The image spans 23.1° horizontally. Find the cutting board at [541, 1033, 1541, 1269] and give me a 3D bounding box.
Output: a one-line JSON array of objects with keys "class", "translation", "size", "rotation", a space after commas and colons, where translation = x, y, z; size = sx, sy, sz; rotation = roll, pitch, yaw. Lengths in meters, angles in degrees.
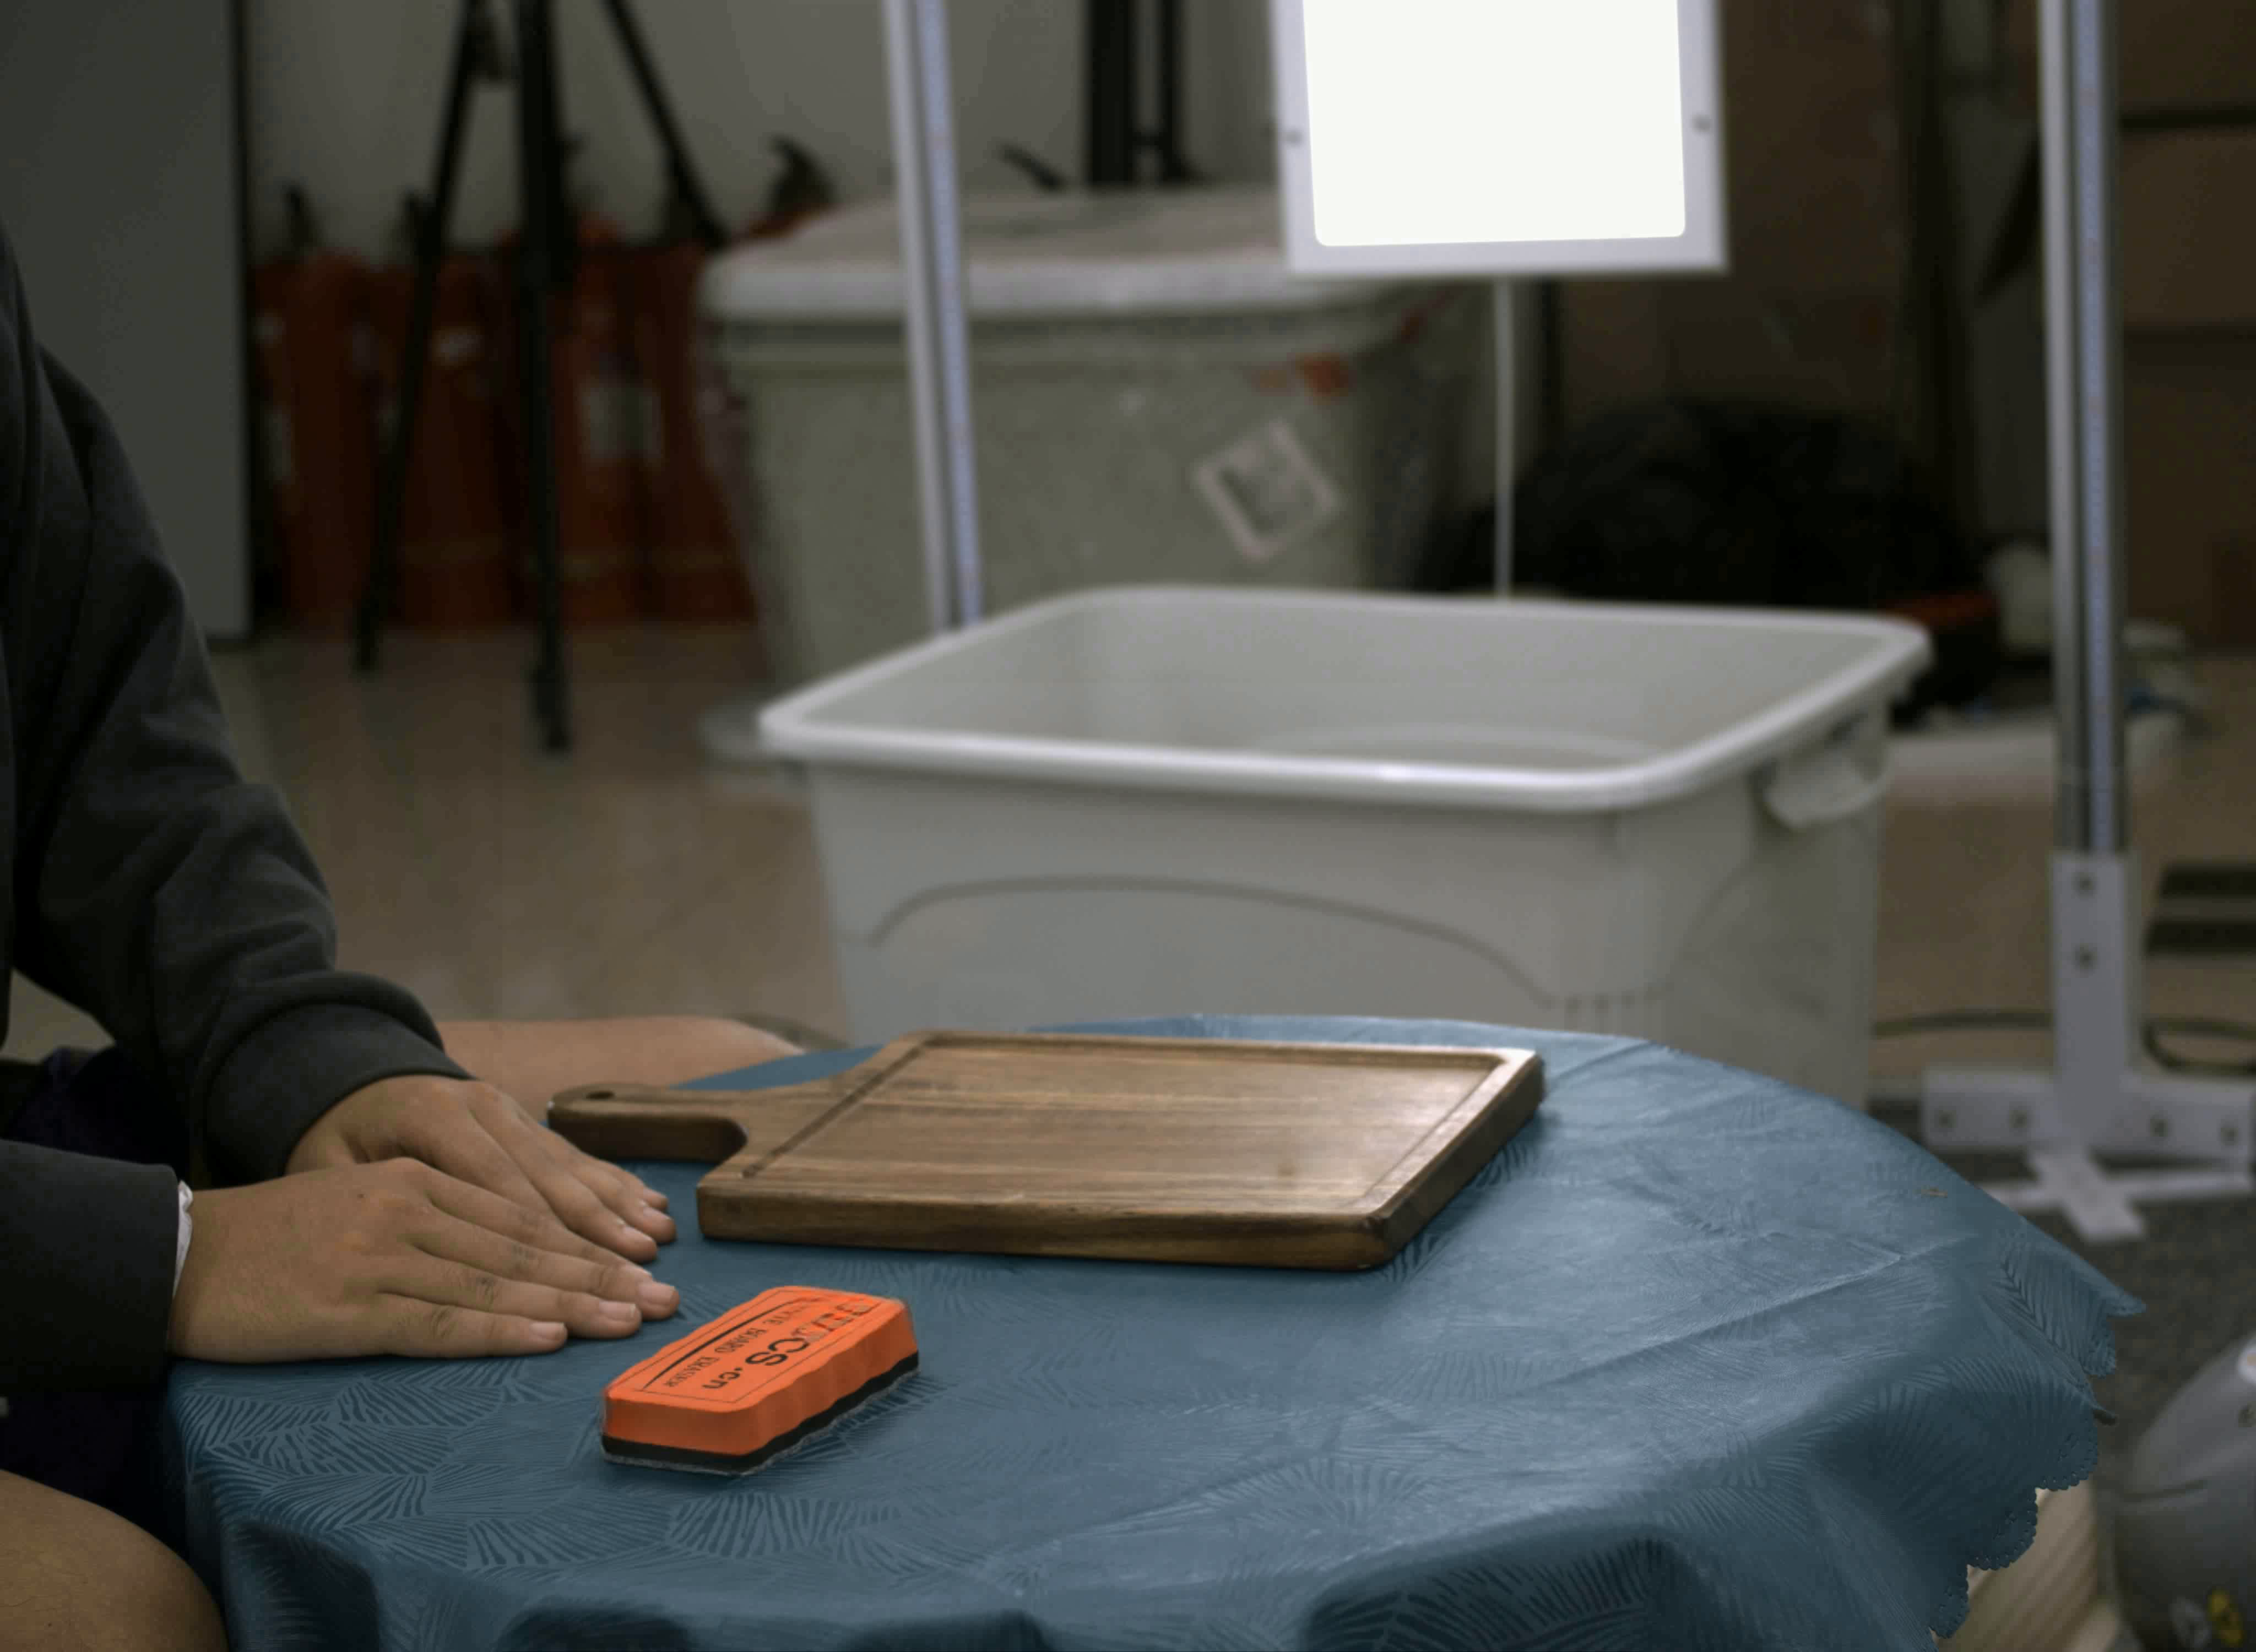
[{"class": "cutting board", "translation": [-0.046, 0.110, 1.939], "size": [0.357, 0.023, 0.197], "rotation": [0, 15, 23]}]

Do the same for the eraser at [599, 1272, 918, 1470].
[{"class": "eraser", "translation": [-0.113, 0.168, 1.707], "size": [0.060, 0.023, 0.105], "rotation": [4, 18, 30]}]
